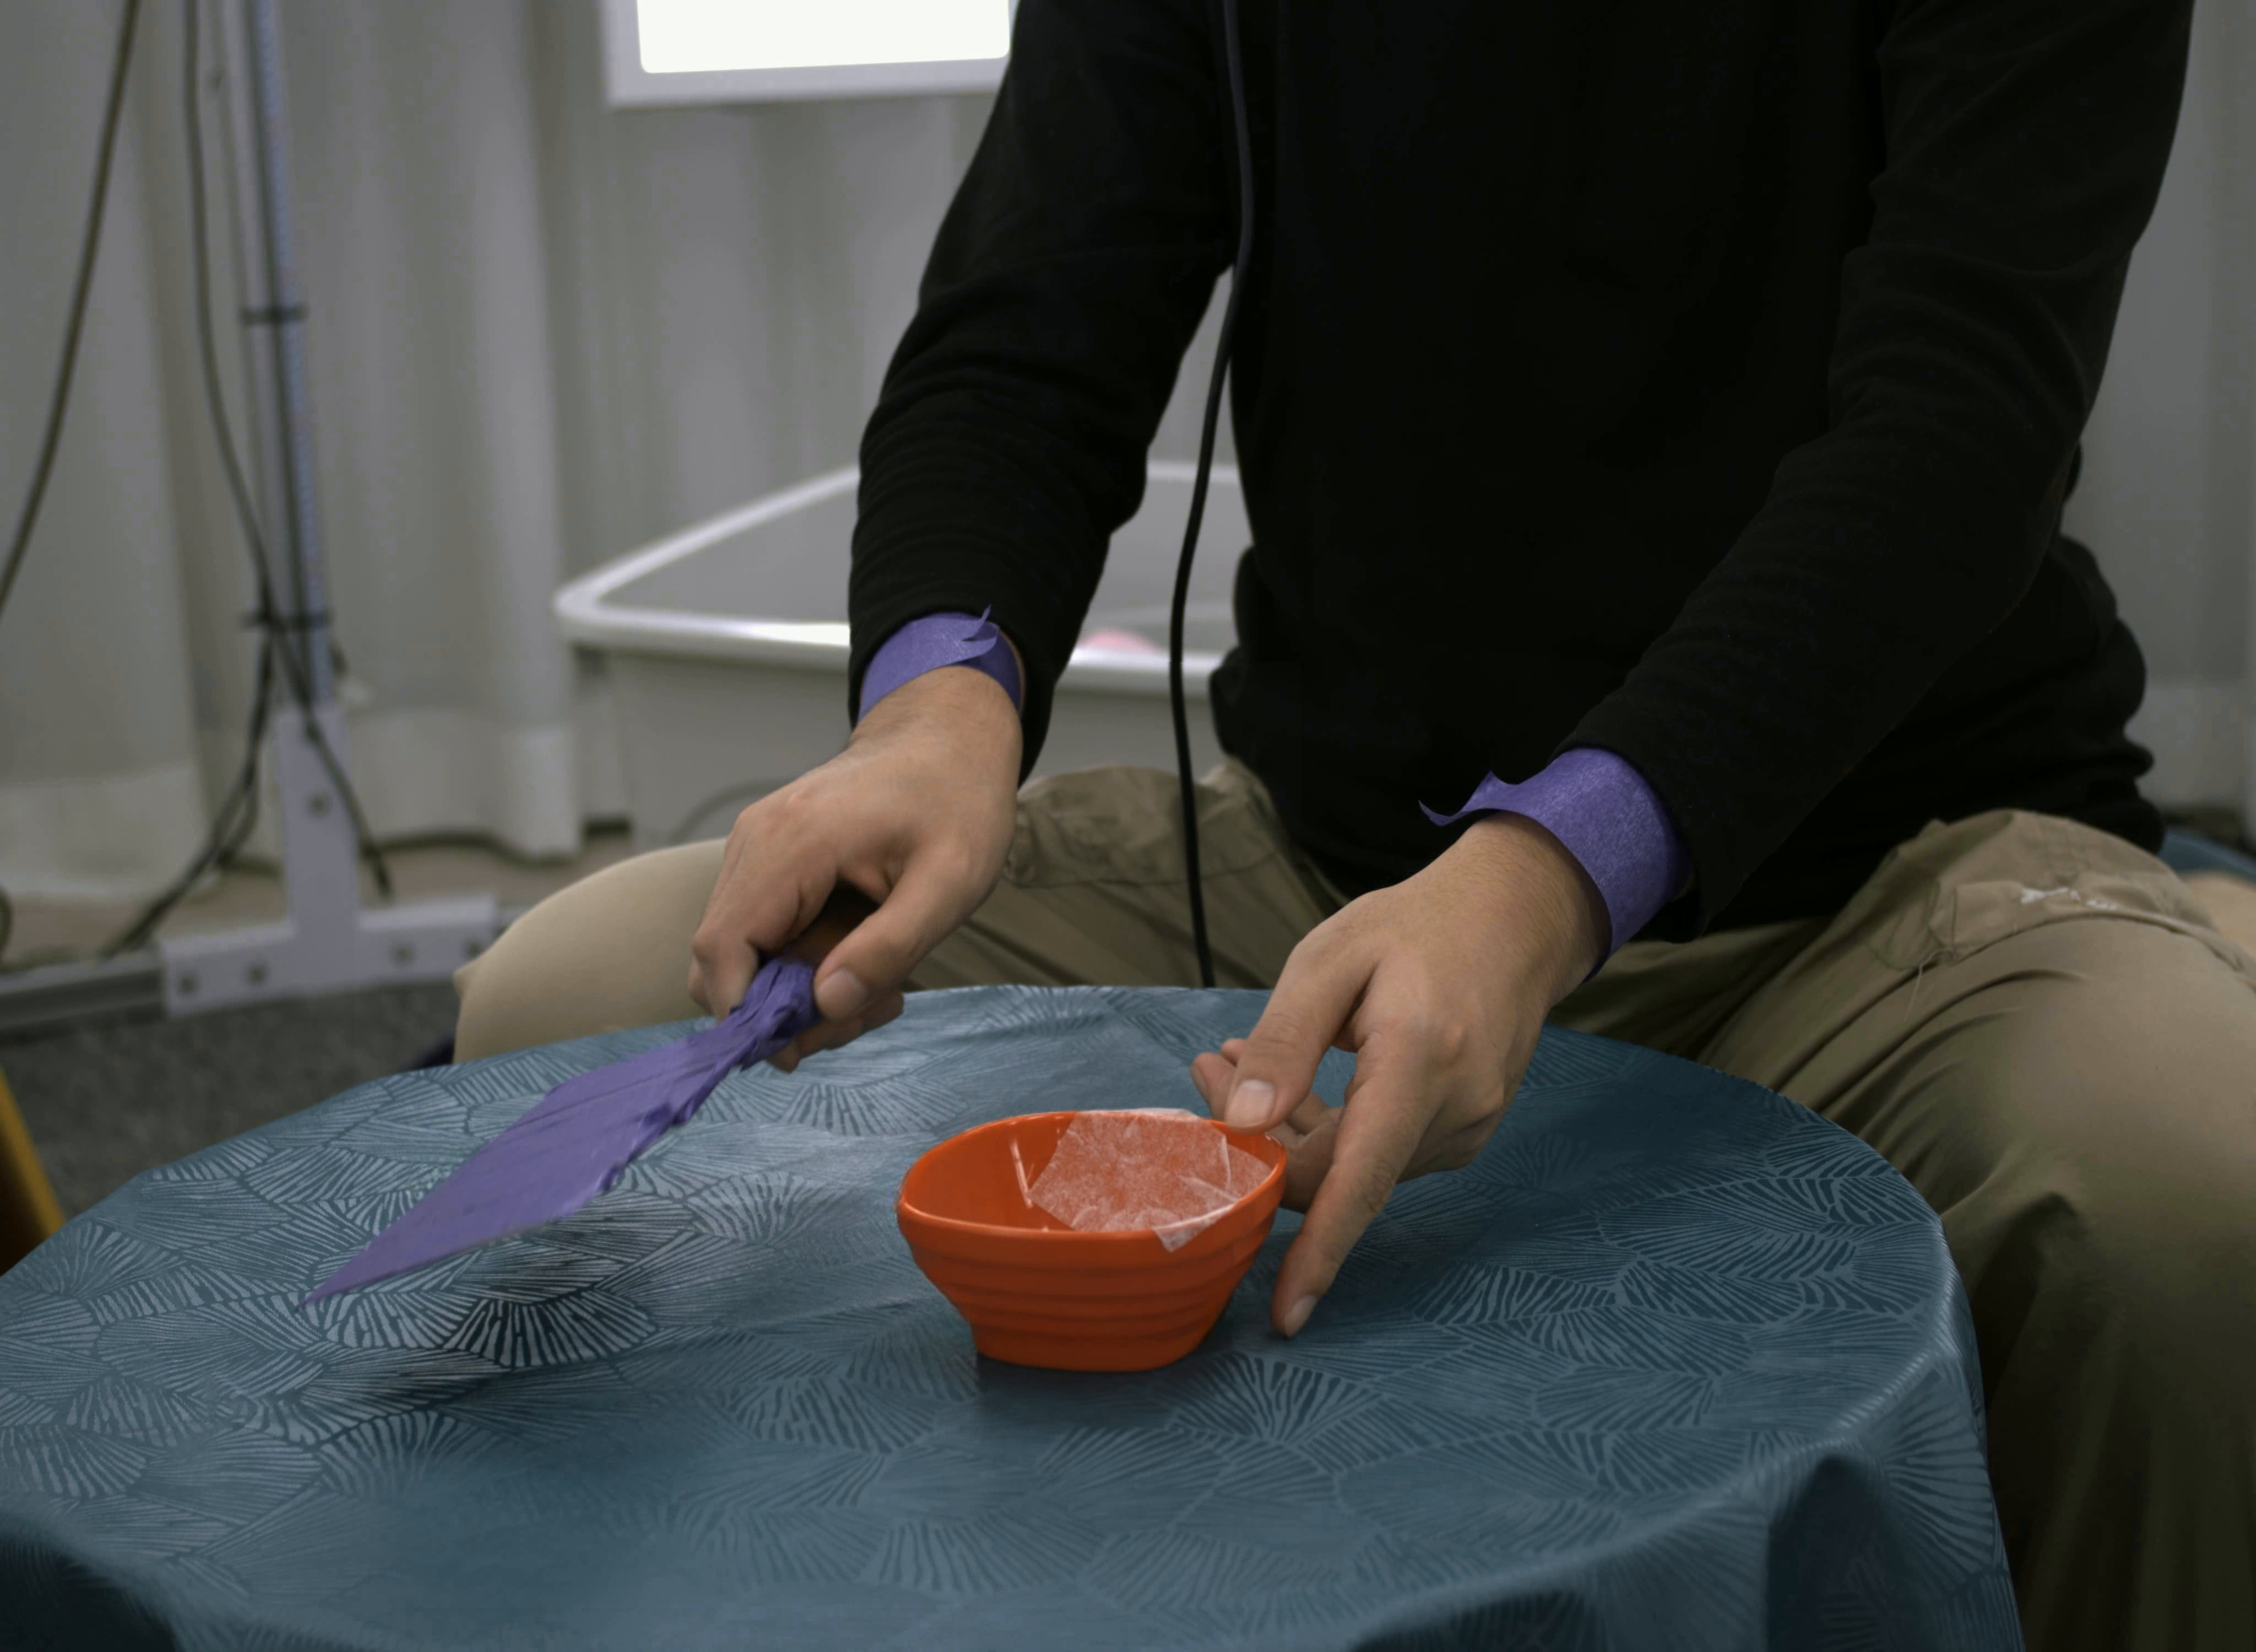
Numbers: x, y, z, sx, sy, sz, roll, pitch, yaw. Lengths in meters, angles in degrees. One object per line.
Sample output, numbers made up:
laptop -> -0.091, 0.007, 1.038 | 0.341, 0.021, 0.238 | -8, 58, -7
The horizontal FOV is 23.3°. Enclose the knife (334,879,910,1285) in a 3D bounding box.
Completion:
knife -> -0.153, 0.075, 1.673 | 0.103, 0.032, 0.316 | -19, 7, 19

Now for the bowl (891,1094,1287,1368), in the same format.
bowl -> -0.009, 0.120, 1.585 | 0.118, 0.051, 0.120 | -5, 17, 1
